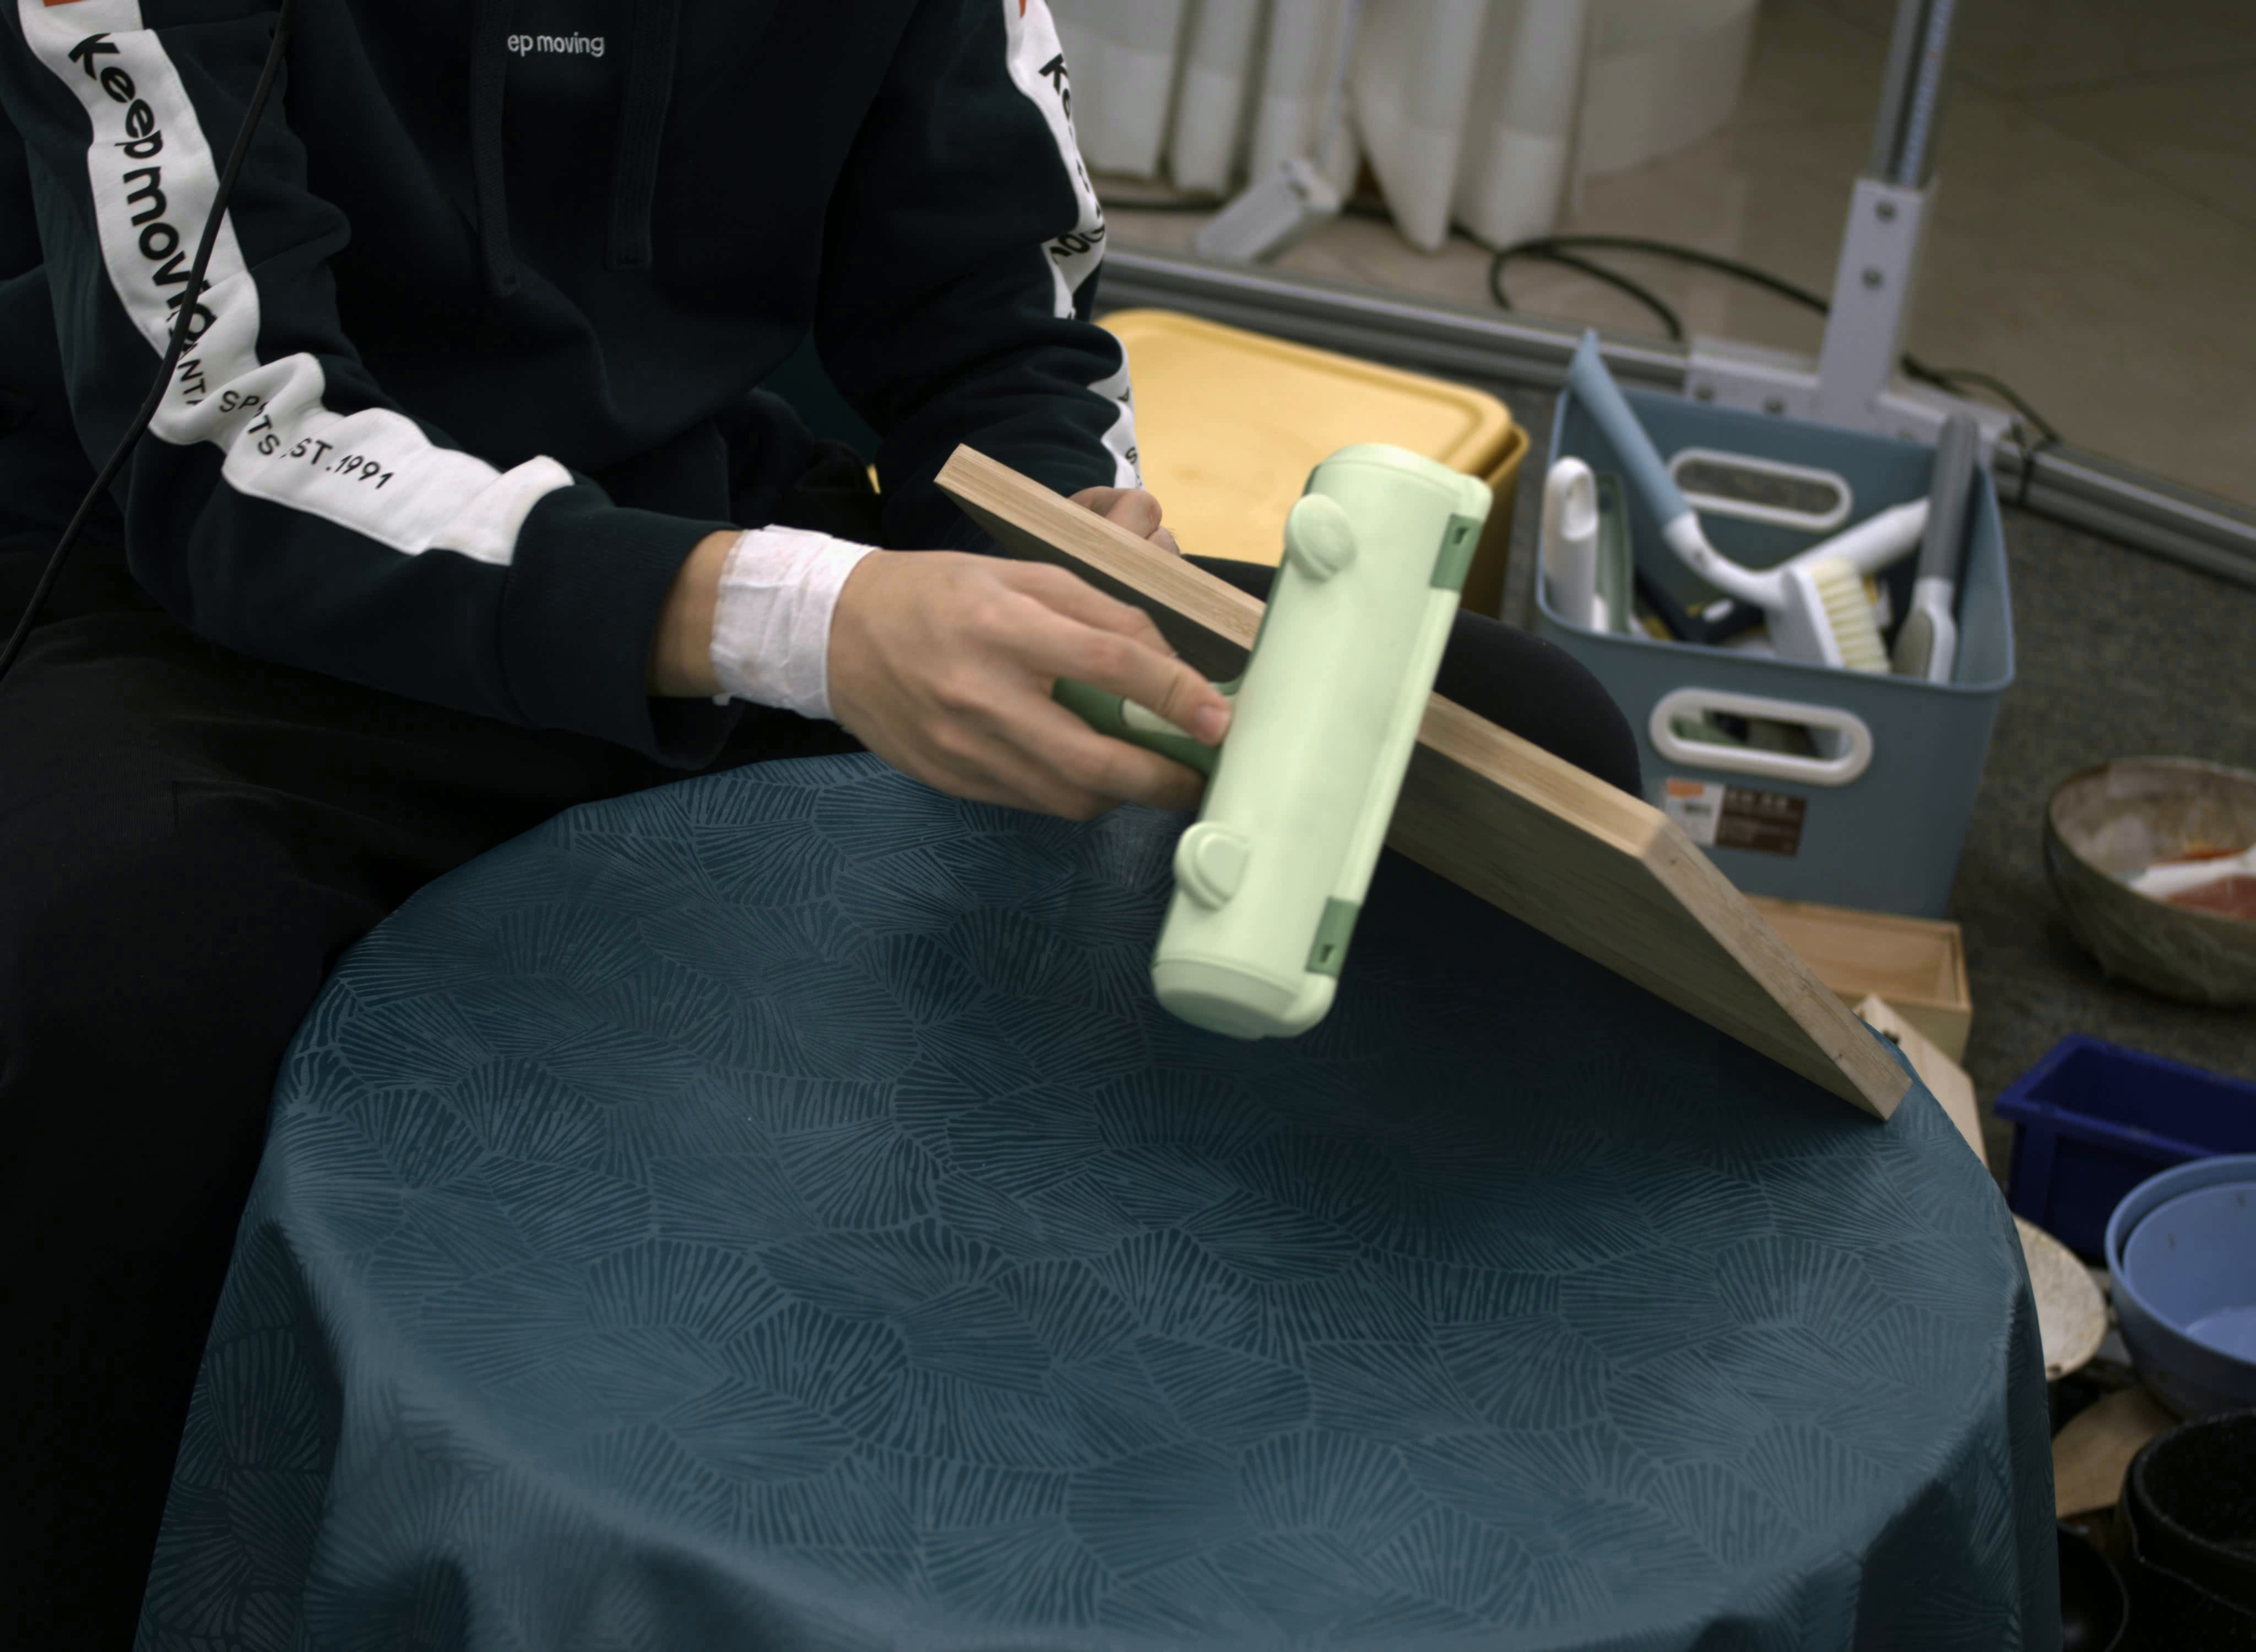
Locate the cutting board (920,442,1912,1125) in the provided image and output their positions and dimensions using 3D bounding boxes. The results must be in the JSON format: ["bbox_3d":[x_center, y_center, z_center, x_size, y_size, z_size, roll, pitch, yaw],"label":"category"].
[{"bbox_3d":[0.101,-0.016,1.908,0.351,0.023,0.248,30,-8,37],"label":"cutting board"}]

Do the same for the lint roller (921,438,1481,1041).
[{"bbox_3d":[0.005,-0.040,1.723,0.184,0.199,0.081,11,-18,23],"label":"lint roller"}]
